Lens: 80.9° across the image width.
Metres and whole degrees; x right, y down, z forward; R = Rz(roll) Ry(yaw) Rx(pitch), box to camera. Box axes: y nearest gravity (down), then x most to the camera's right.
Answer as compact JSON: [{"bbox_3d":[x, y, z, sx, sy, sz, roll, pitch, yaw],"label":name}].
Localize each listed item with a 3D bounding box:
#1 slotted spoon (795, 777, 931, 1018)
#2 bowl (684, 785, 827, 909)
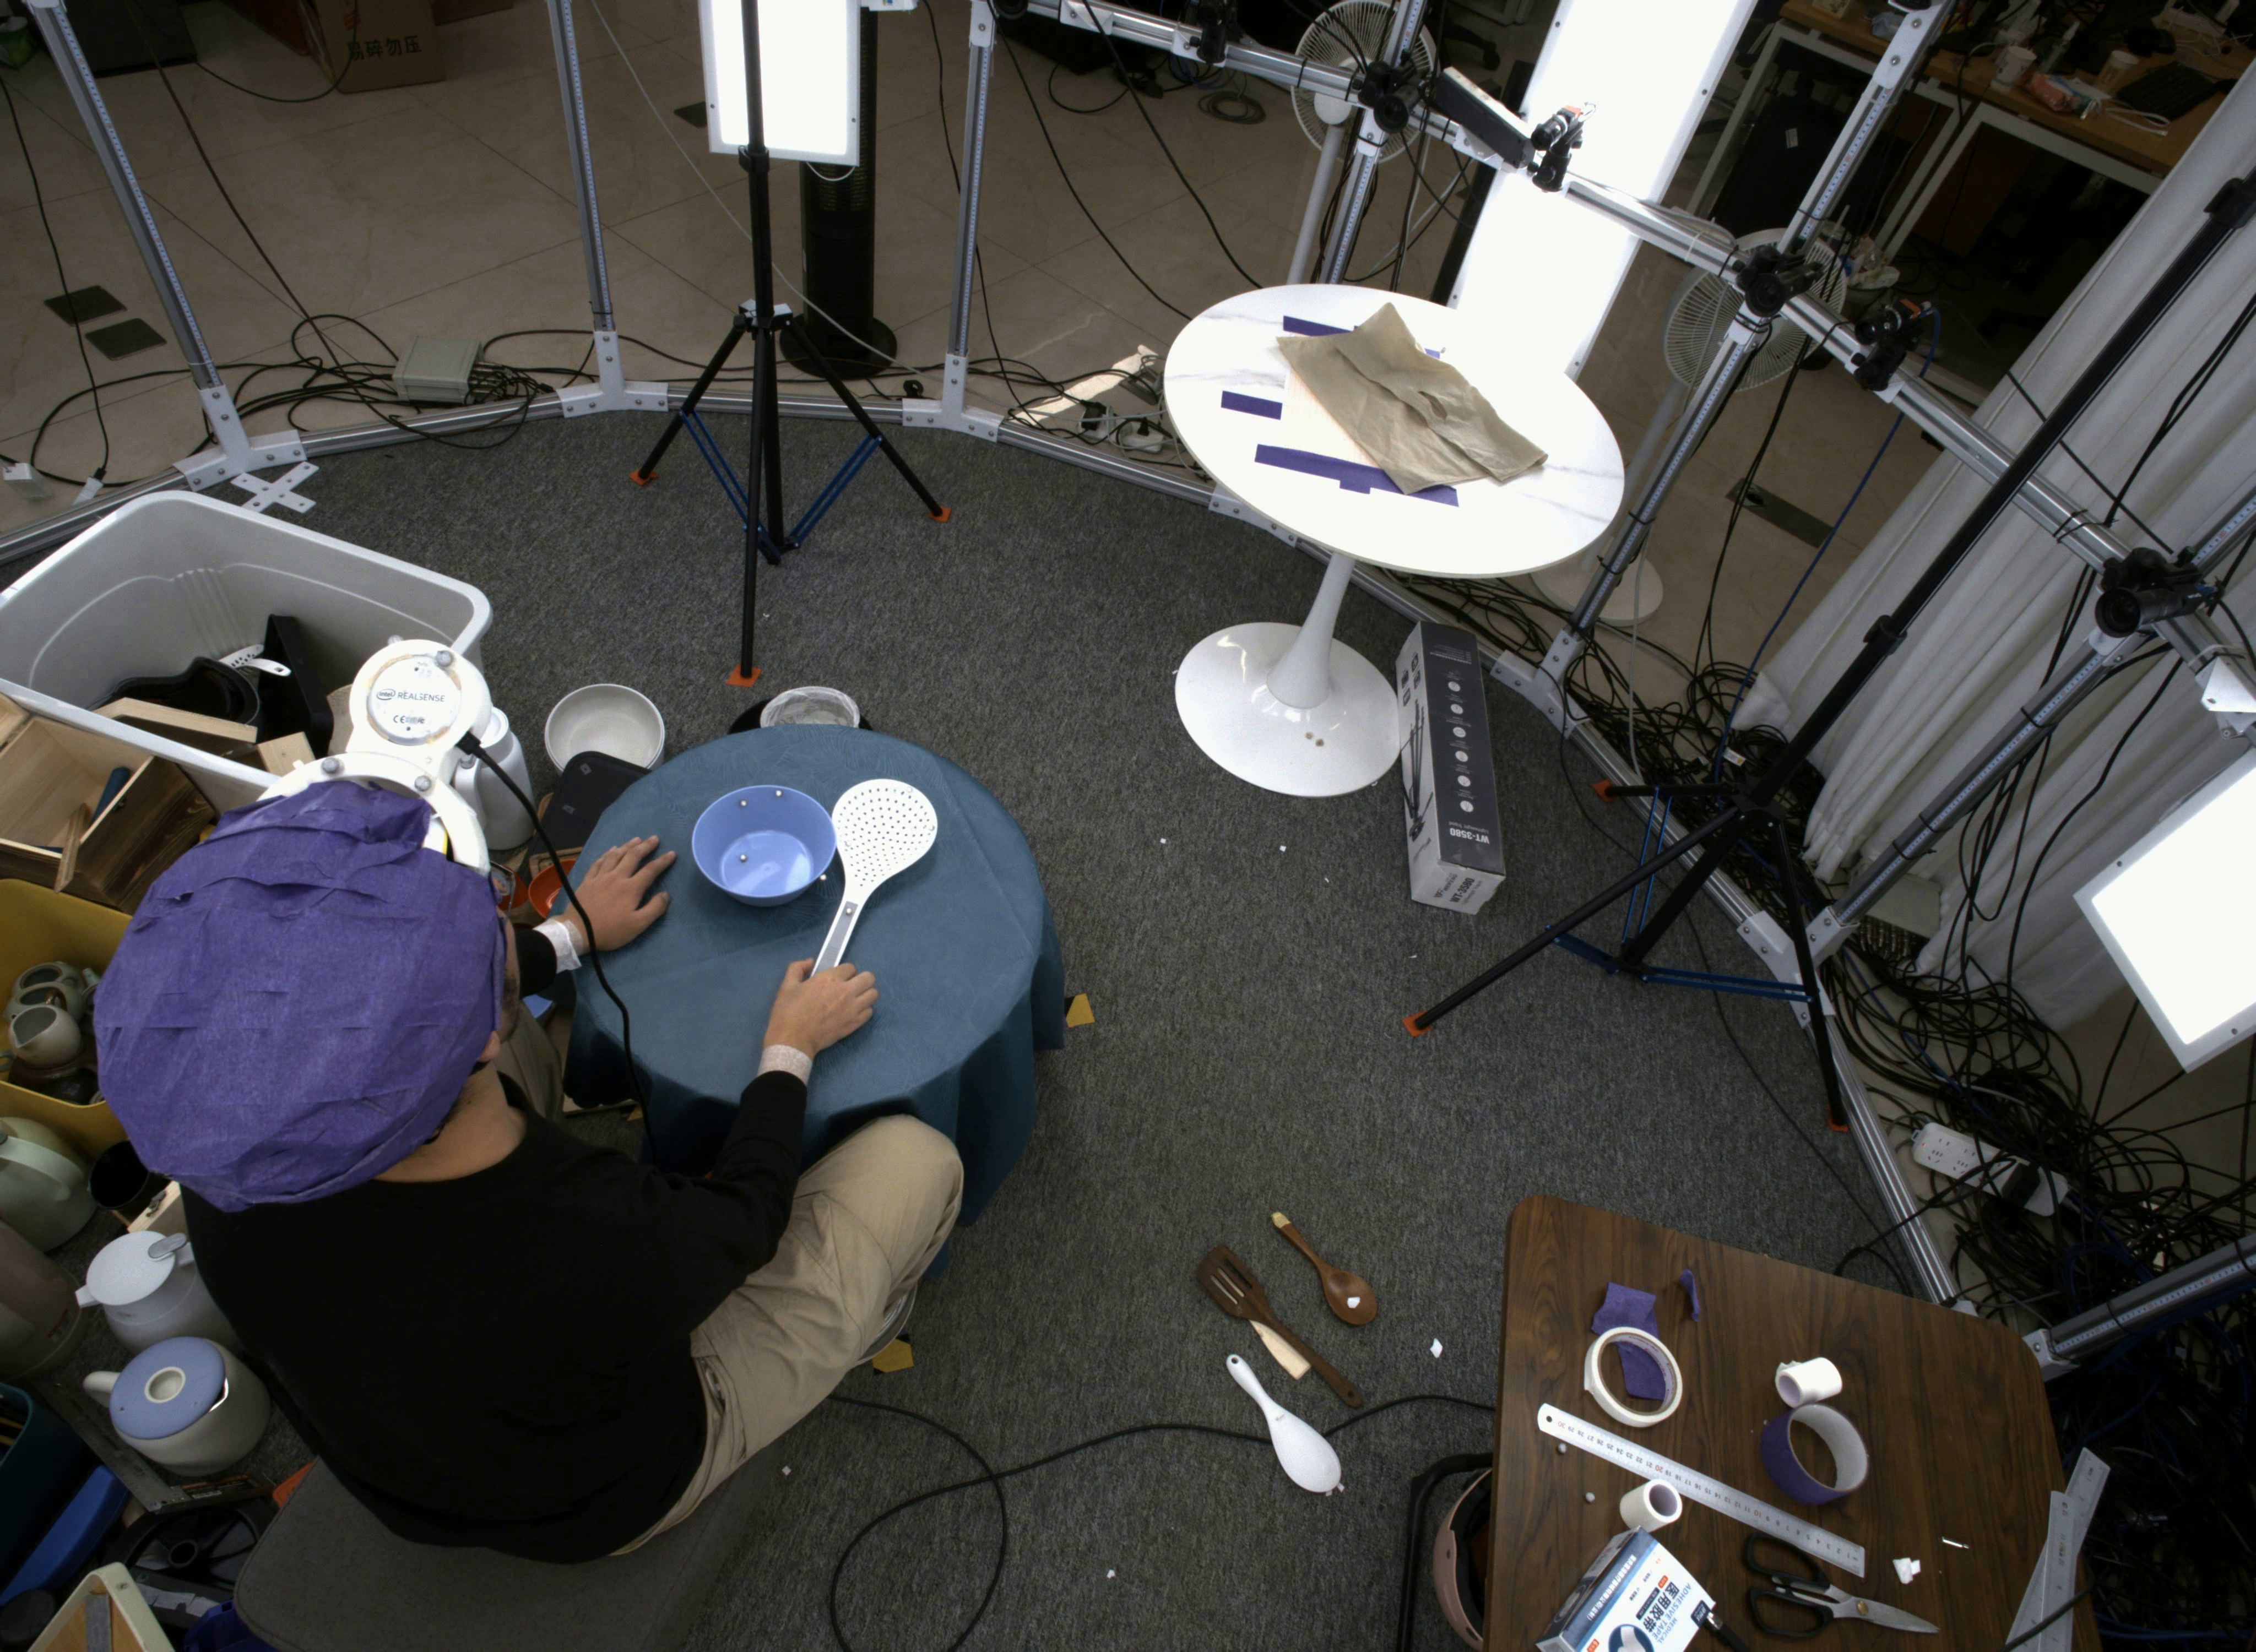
[{"bbox_3d":[-0.350,0.084,1.646,0.136,0.046,0.345,20,52,-8],"label":"slotted spoon"},{"bbox_3d":[-0.468,0.036,1.635,0.176,0.071,0.173,8,53,-9],"label":"bowl"}]
